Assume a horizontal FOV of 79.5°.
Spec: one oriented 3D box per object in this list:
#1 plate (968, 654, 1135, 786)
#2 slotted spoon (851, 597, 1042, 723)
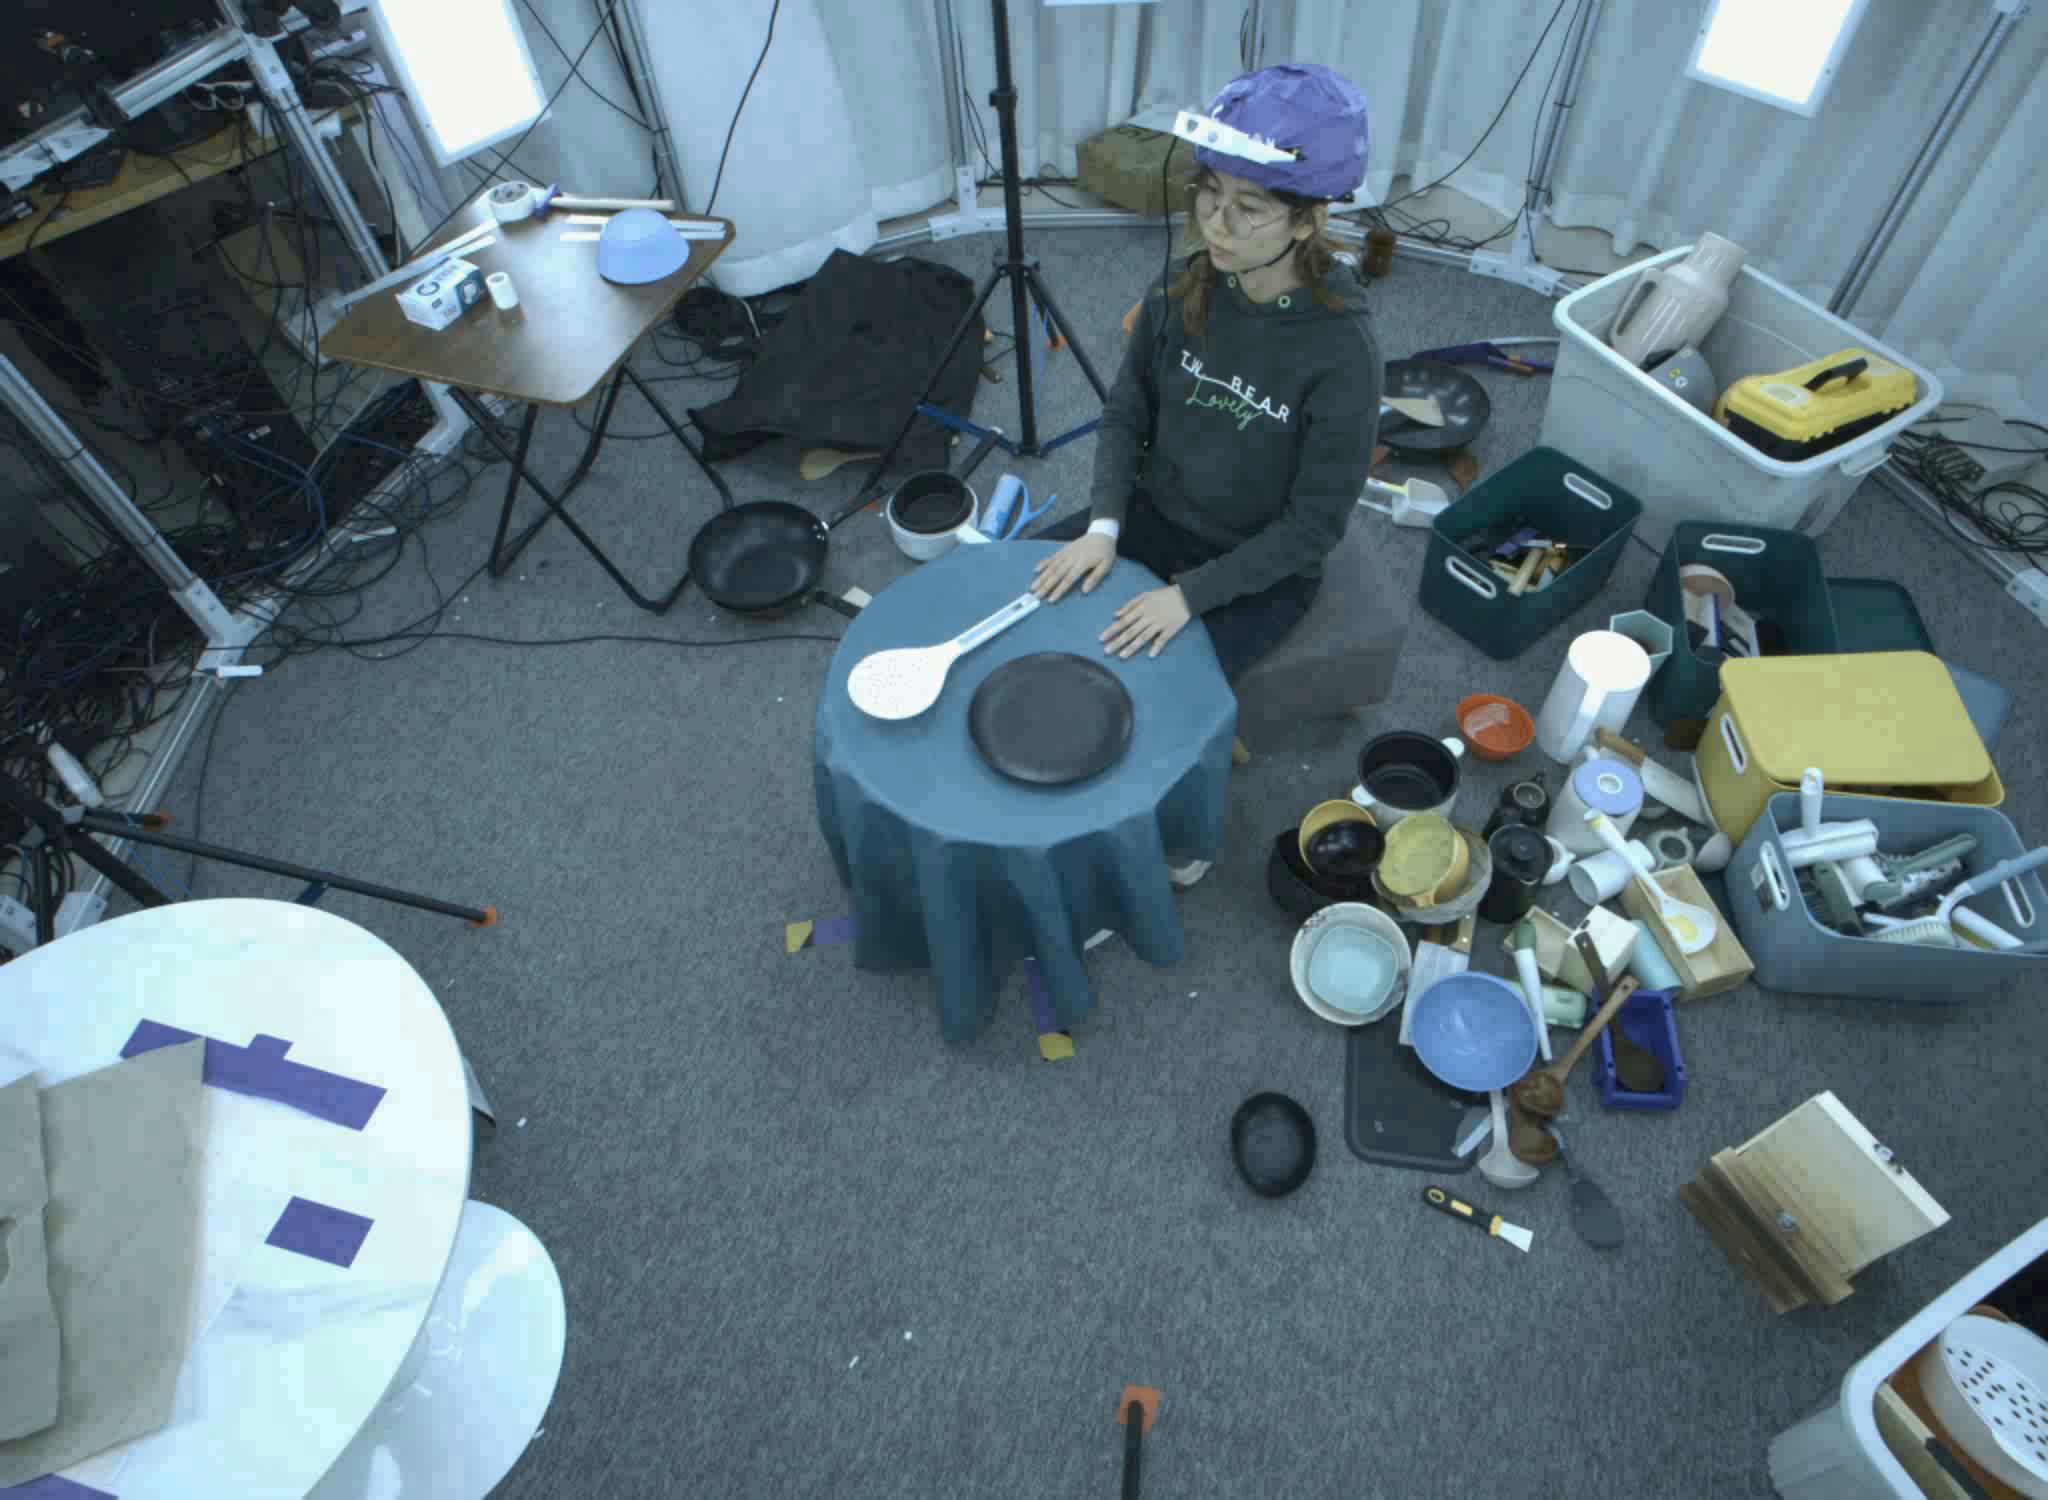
[{"bbox_3d":[0.040,-0.042,1.812,0.244,0.023,0.242,0,55,1],"label":"plate"},{"bbox_3d":[-0.110,-0.145,1.875,0.352,0.046,0.134,-37,64,-23],"label":"slotted spoon"}]
